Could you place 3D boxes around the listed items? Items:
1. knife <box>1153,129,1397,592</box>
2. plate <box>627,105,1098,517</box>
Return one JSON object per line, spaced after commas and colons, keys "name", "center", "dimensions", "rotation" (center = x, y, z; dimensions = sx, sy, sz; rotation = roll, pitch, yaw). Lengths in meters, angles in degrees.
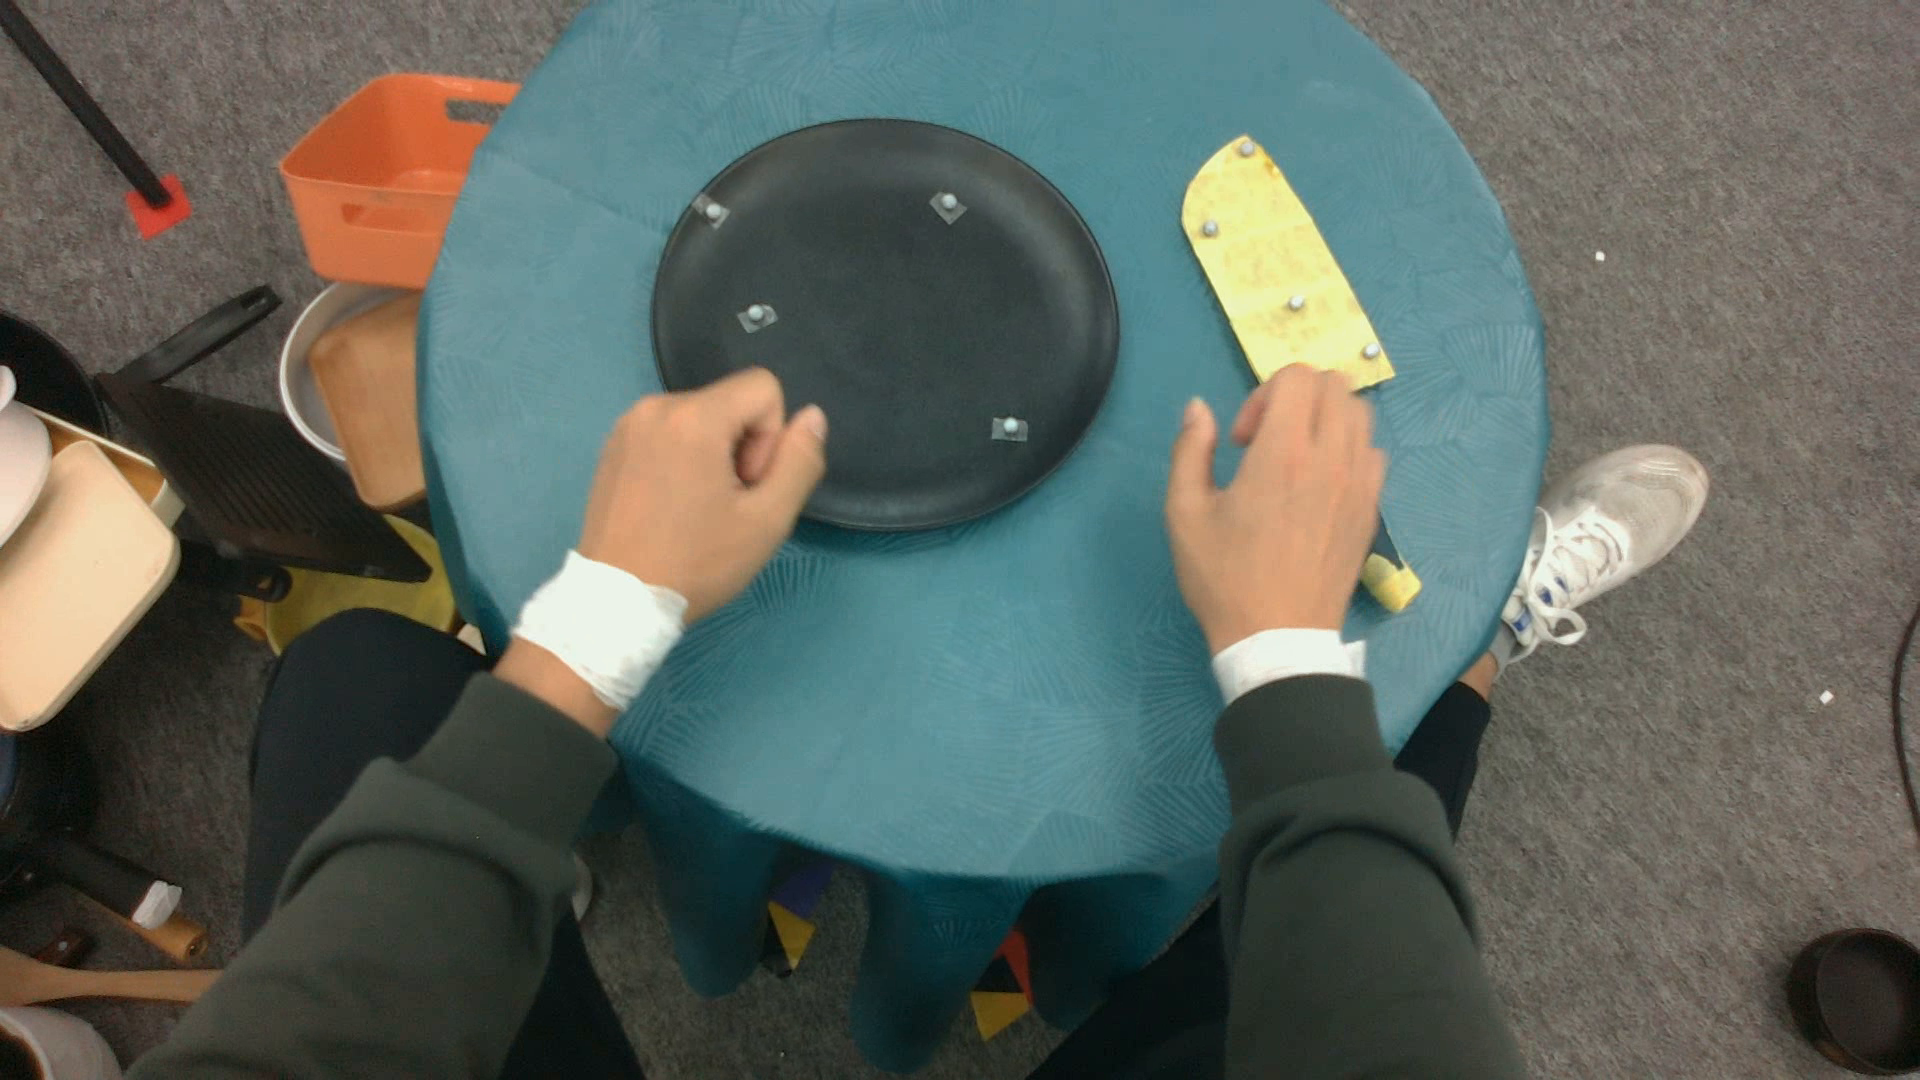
{"name": "knife", "center": [0.177, -0.107, 0.744], "dimensions": [0.081, 0.027, 0.290], "rotation": [-15, 70, -10]}
{"name": "plate", "center": [-0.049, -0.123, 0.721], "dimensions": [0.244, 0.023, 0.245], "rotation": [2, 69, -5]}
